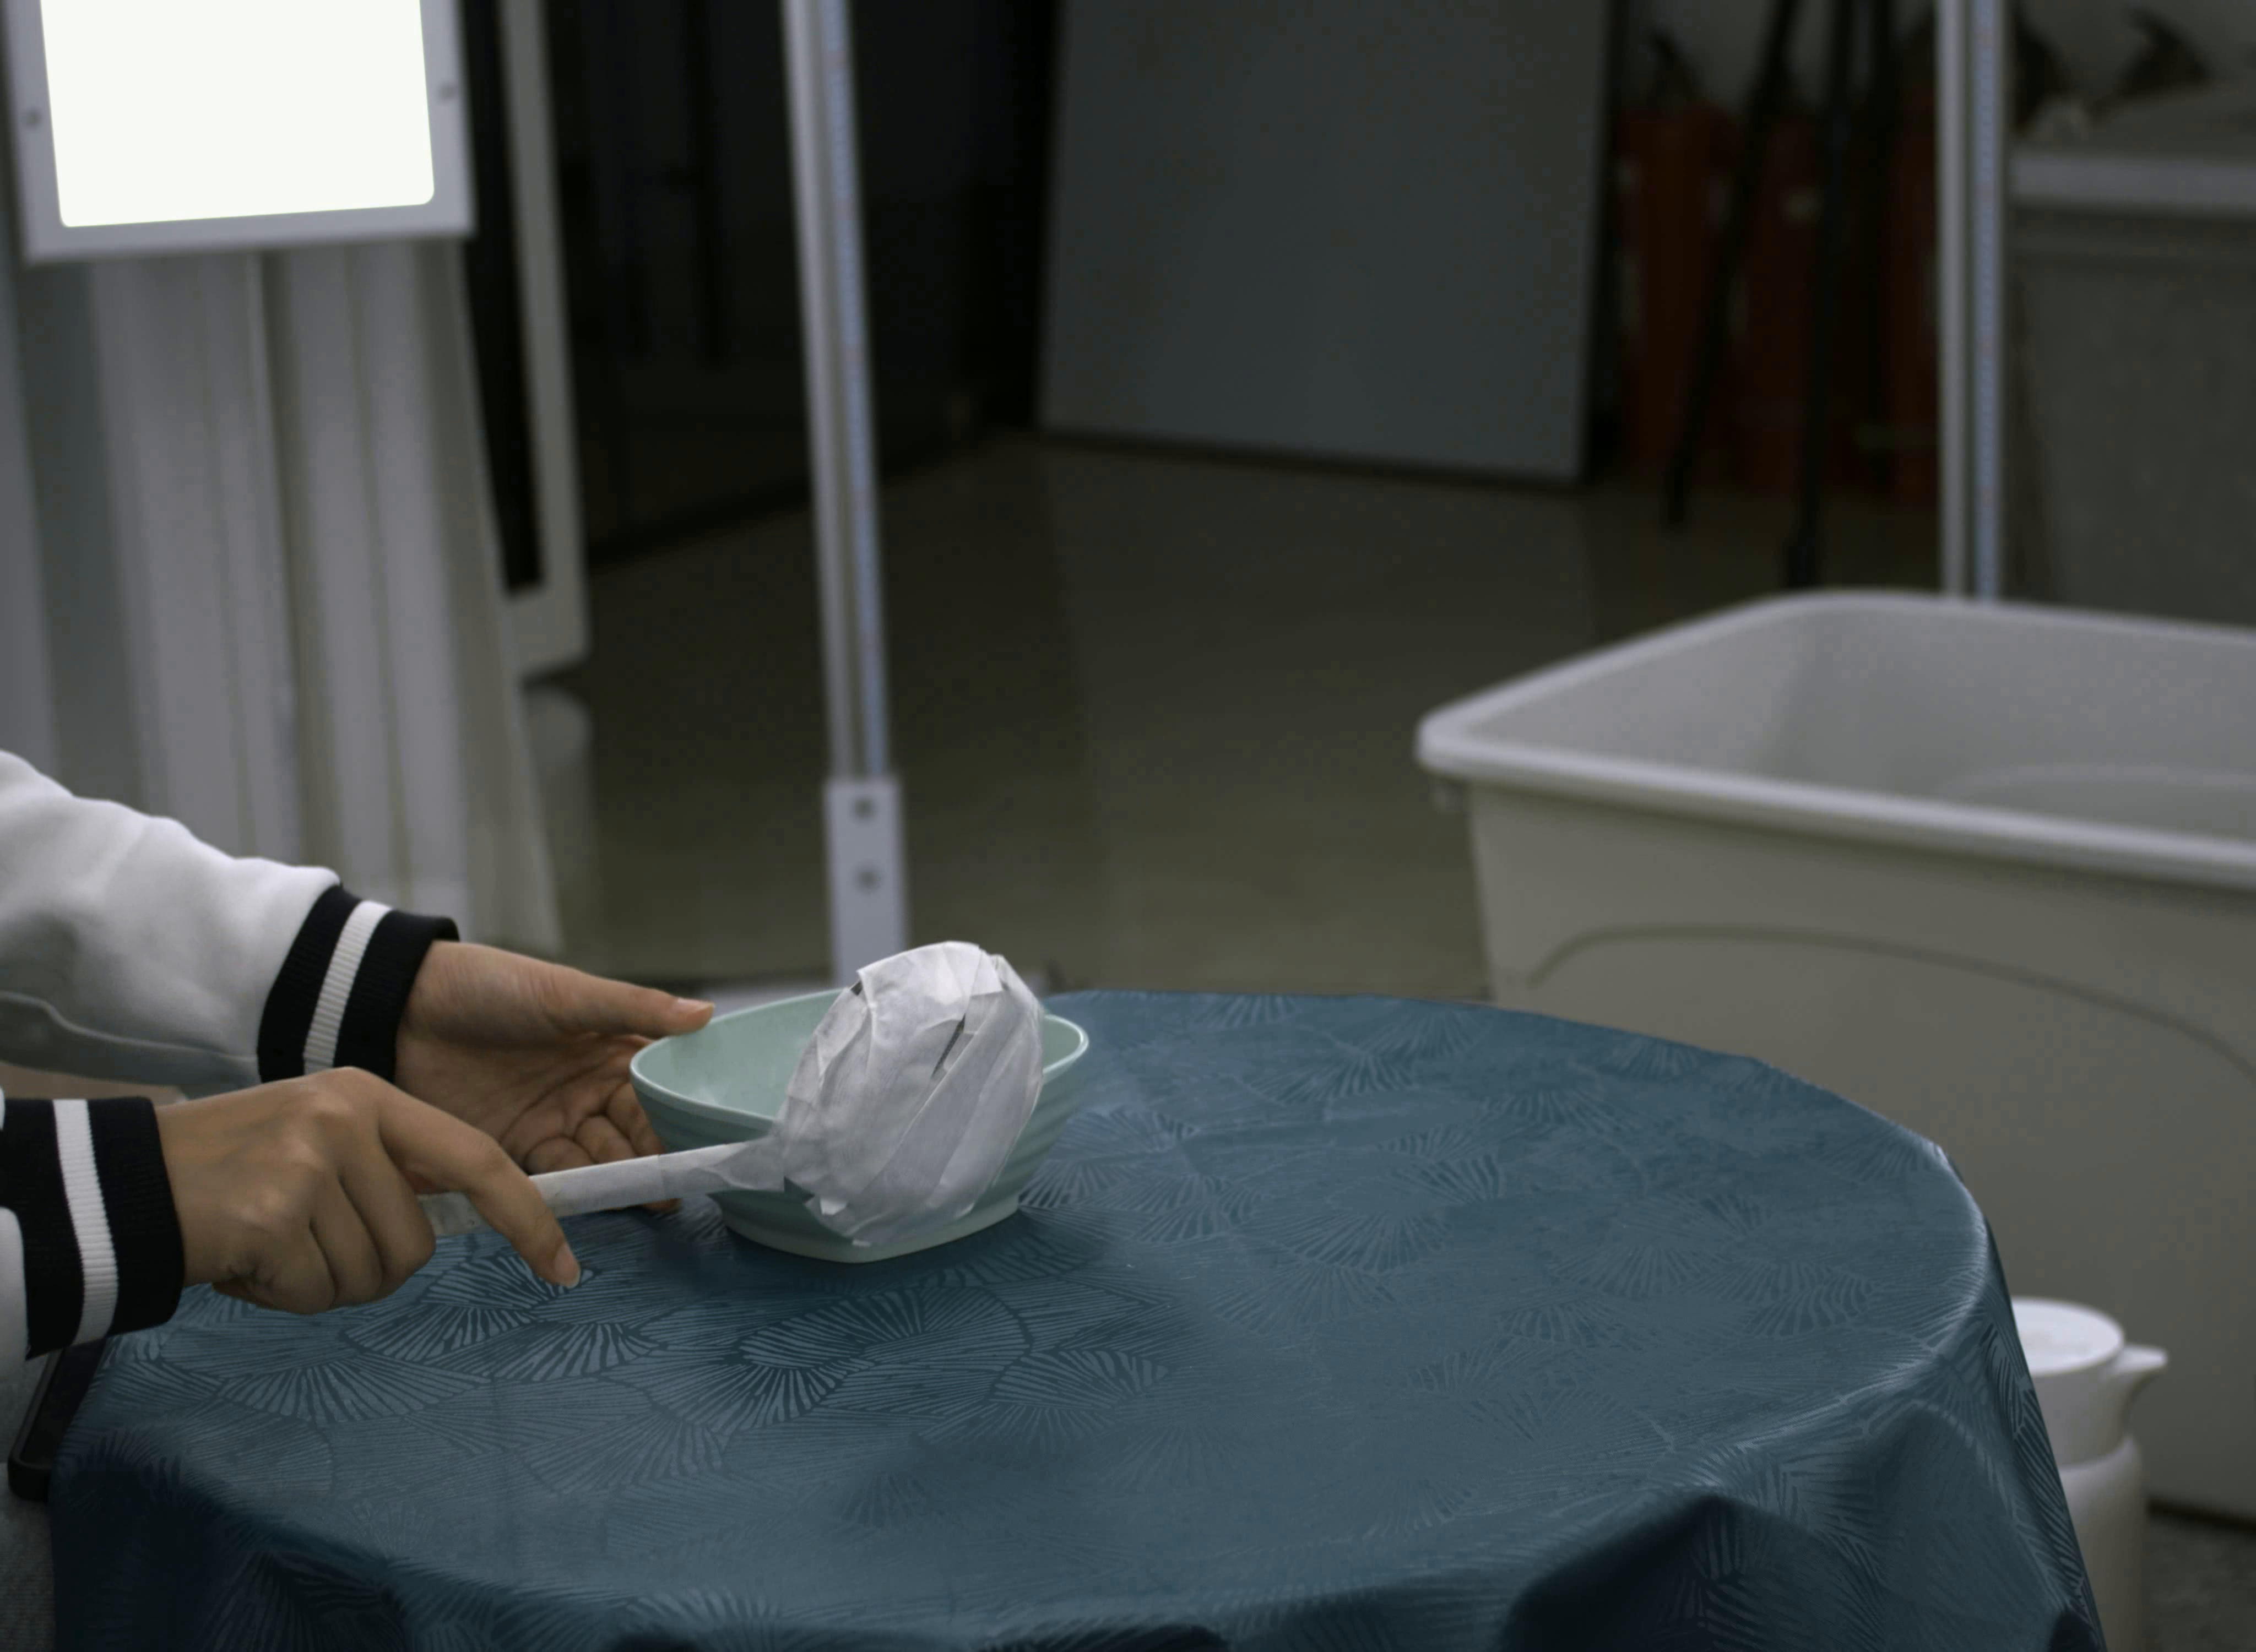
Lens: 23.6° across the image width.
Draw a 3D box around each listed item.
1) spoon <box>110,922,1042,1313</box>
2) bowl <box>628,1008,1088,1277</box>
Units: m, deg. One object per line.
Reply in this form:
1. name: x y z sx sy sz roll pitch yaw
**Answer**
1. spoon: -0.157 0.099 1.571 0.274 0.101 0.059 -12 22 3
2. bowl: -0.086 0.104 1.756 0.149 0.059 0.152 -4 13 0
